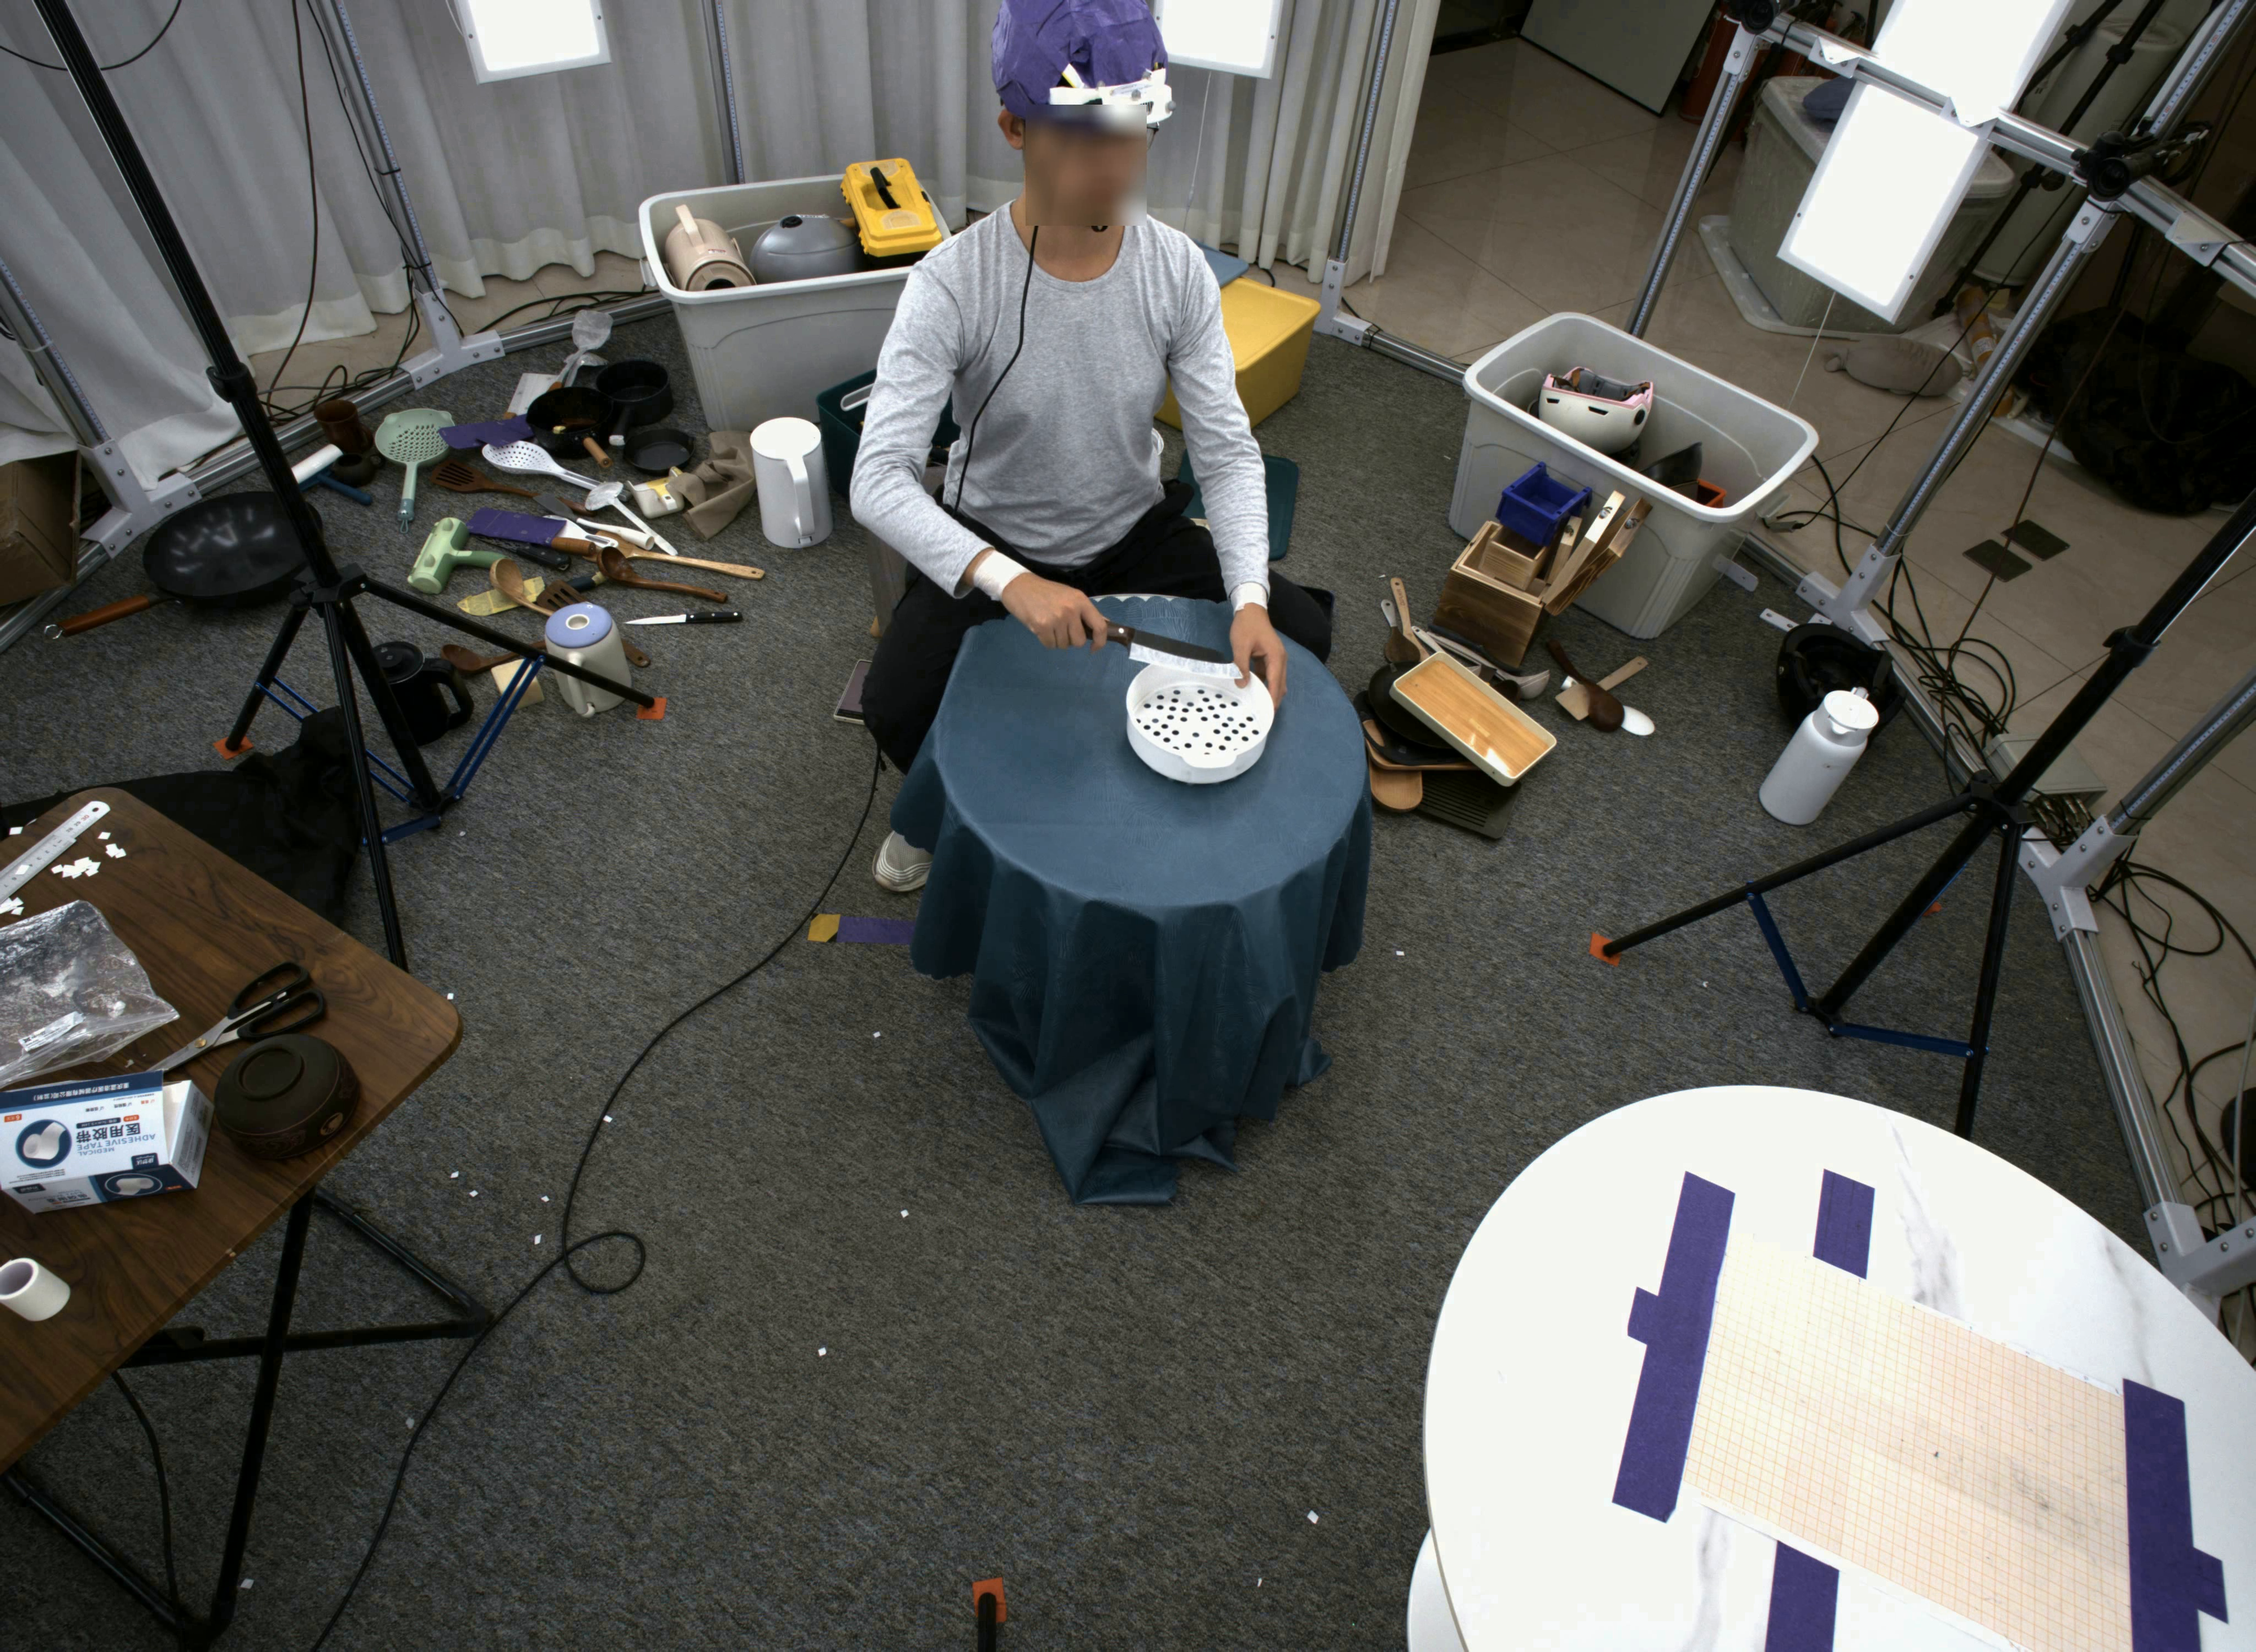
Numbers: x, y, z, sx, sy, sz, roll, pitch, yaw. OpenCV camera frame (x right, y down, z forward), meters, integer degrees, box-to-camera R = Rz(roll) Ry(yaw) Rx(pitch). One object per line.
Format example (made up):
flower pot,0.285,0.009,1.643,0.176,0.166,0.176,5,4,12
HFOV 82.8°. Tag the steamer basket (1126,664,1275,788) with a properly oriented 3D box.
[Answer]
steamer basket,0.097,-0.142,1.754,0.201,0.067,0.236,-1,48,-5

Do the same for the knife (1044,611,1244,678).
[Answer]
knife,0.025,-0.242,1.722,0.287,0.020,0.051,14,72,-15
